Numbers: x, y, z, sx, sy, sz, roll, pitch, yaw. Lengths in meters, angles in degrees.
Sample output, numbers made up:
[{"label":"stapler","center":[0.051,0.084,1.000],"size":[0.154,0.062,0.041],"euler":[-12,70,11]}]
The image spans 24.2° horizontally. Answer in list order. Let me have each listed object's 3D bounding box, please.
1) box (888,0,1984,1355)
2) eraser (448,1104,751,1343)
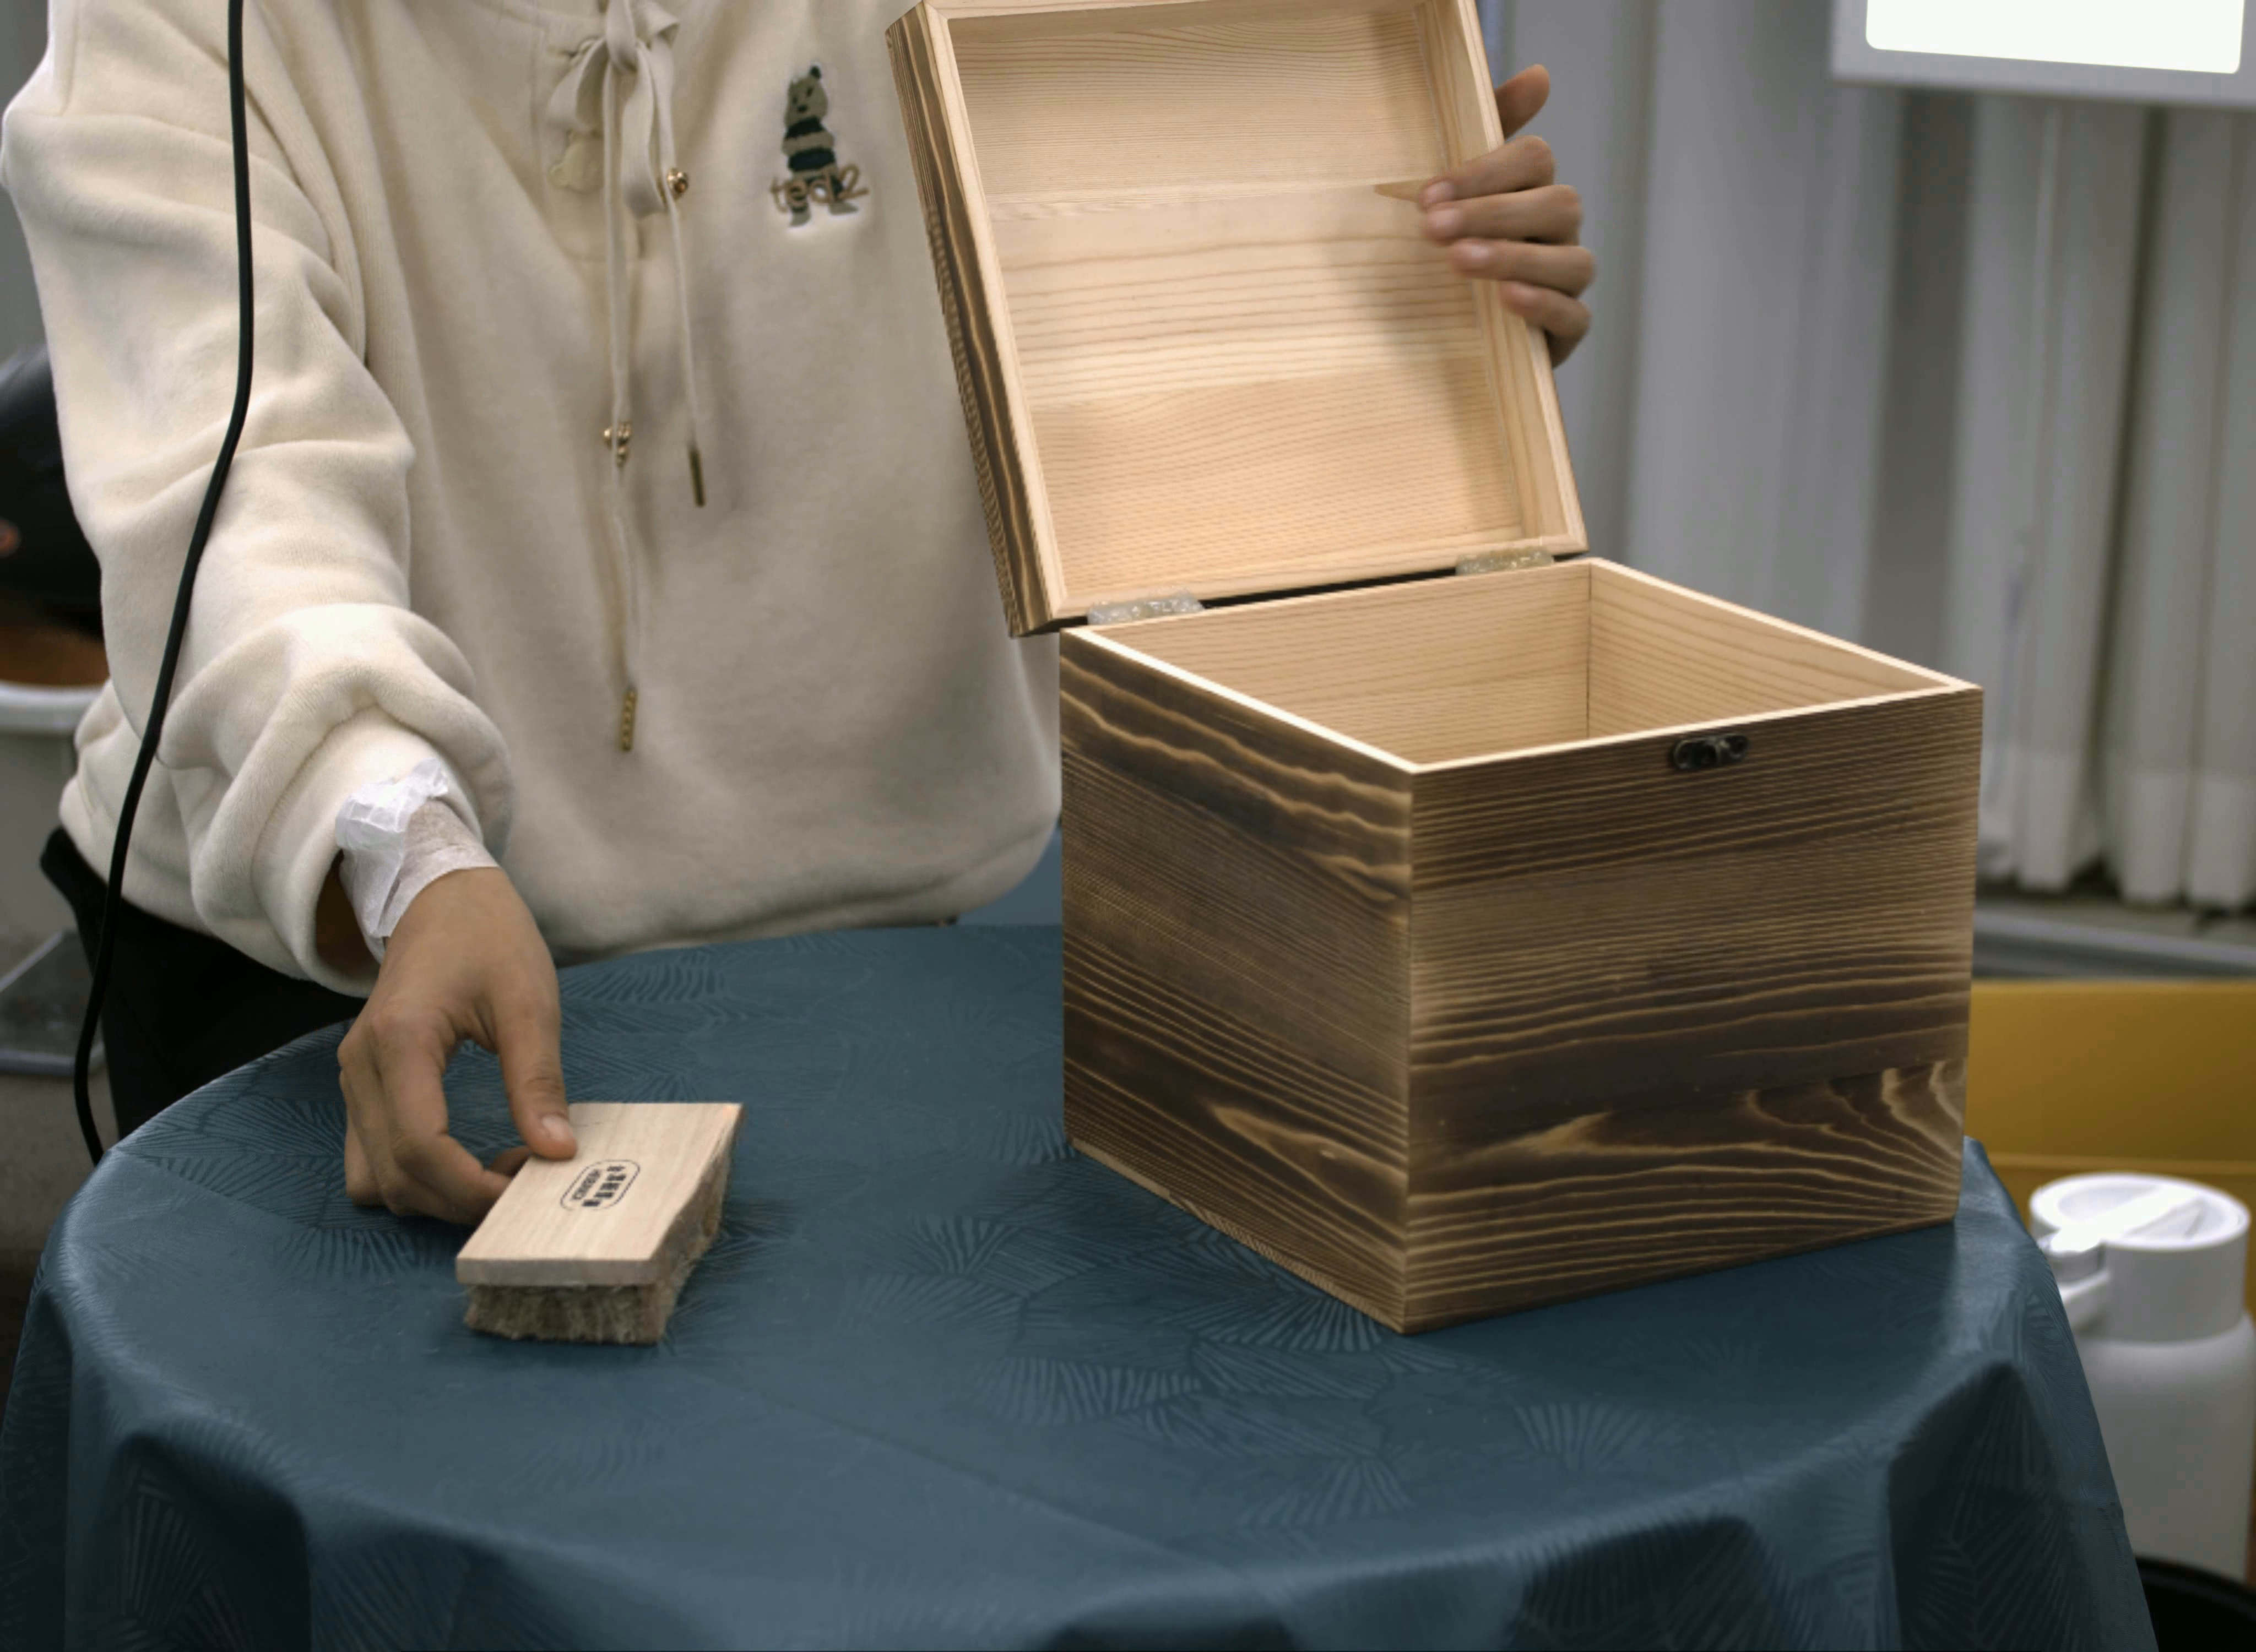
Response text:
[{"label":"box","center":[0.088,-0.076,1.620],"size":[0.209,0.378,0.318],"euler":[-10,19,-29]},{"label":"eraser","center":[-0.154,0.116,1.550],"size":[0.057,0.029,0.139],"euler":[0,15,9]}]
